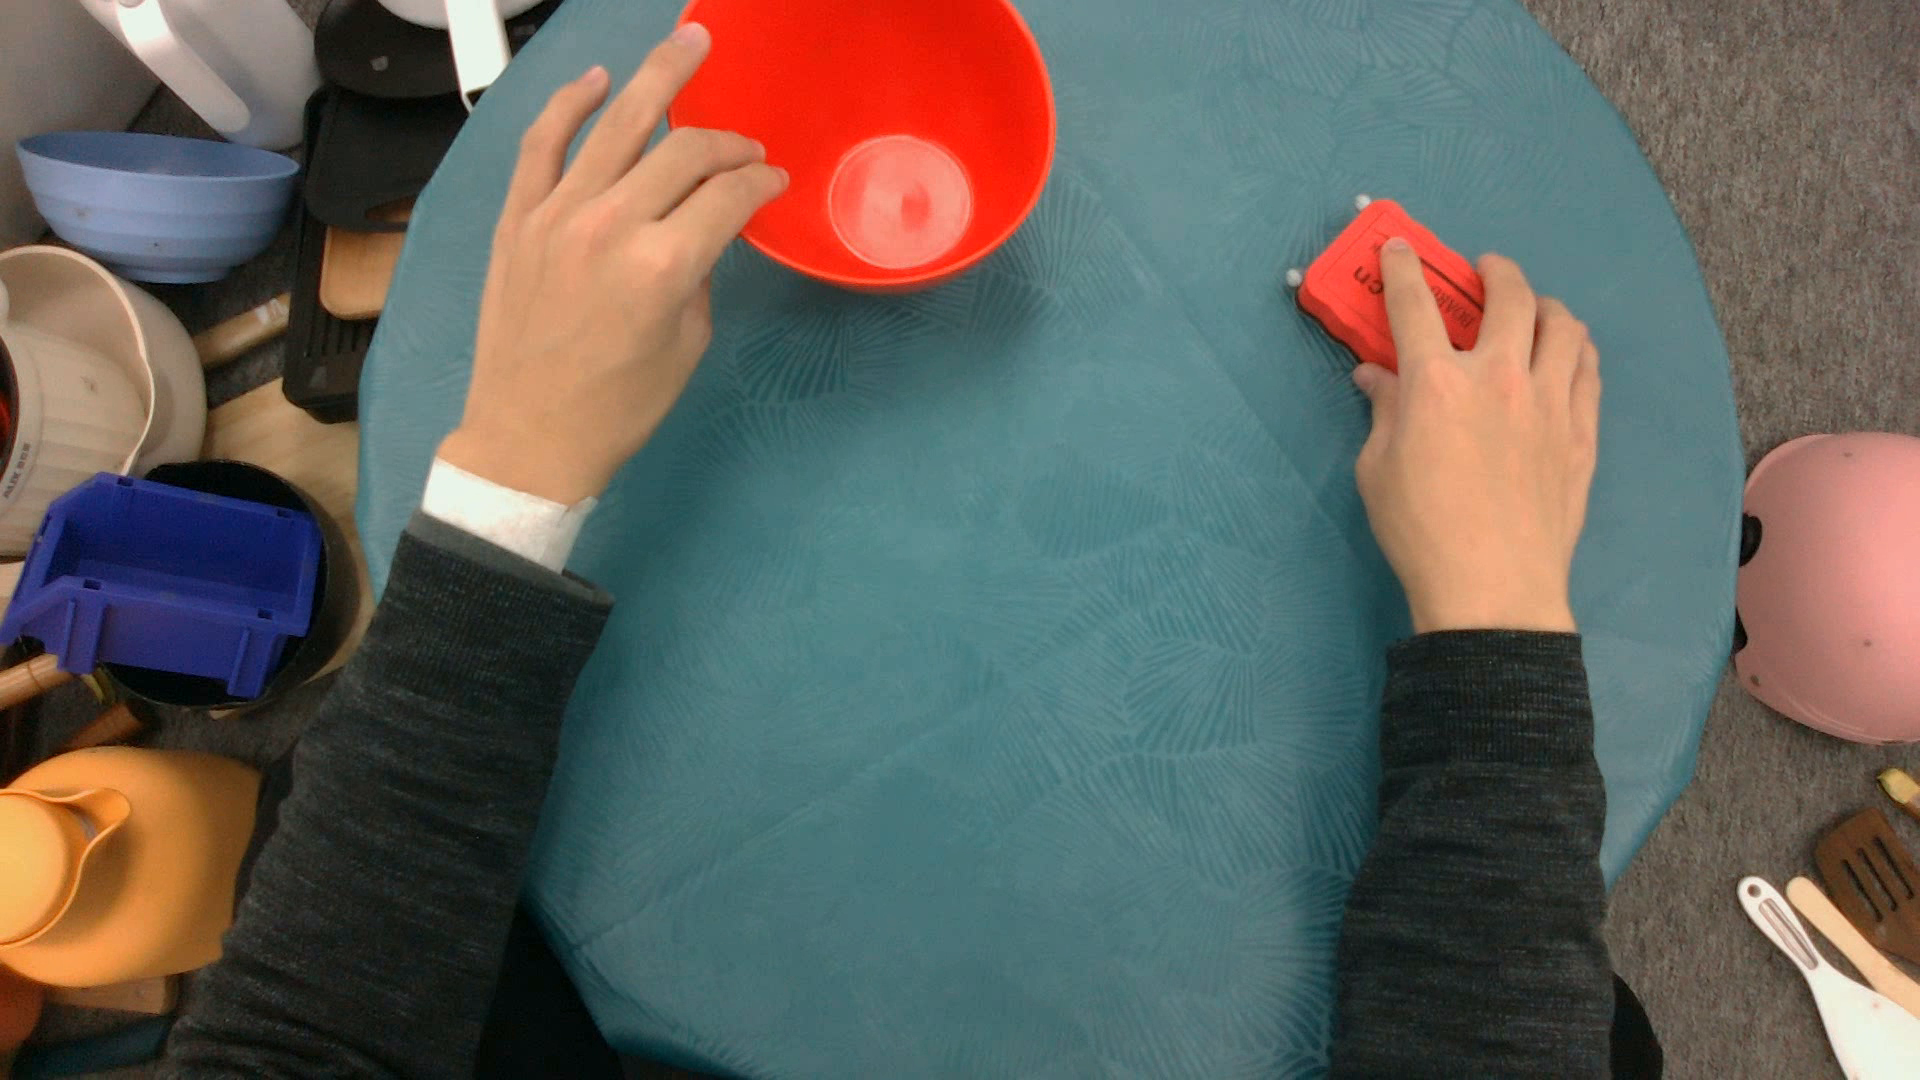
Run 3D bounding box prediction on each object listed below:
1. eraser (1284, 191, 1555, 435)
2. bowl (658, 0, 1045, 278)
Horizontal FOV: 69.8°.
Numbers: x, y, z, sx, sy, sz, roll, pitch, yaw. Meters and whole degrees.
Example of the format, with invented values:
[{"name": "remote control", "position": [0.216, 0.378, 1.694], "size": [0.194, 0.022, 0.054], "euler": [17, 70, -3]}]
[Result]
[{"name": "eraser", "position": [0.199, -0.099, 0.600], "size": [0.108, 0.023, 0.059], "euler": [42, 78, 8]}, {"name": "bowl", "position": [-0.041, -0.166, 0.567], "size": [0.148, 0.104, 0.148], "euler": [0, 78, -2]}]
